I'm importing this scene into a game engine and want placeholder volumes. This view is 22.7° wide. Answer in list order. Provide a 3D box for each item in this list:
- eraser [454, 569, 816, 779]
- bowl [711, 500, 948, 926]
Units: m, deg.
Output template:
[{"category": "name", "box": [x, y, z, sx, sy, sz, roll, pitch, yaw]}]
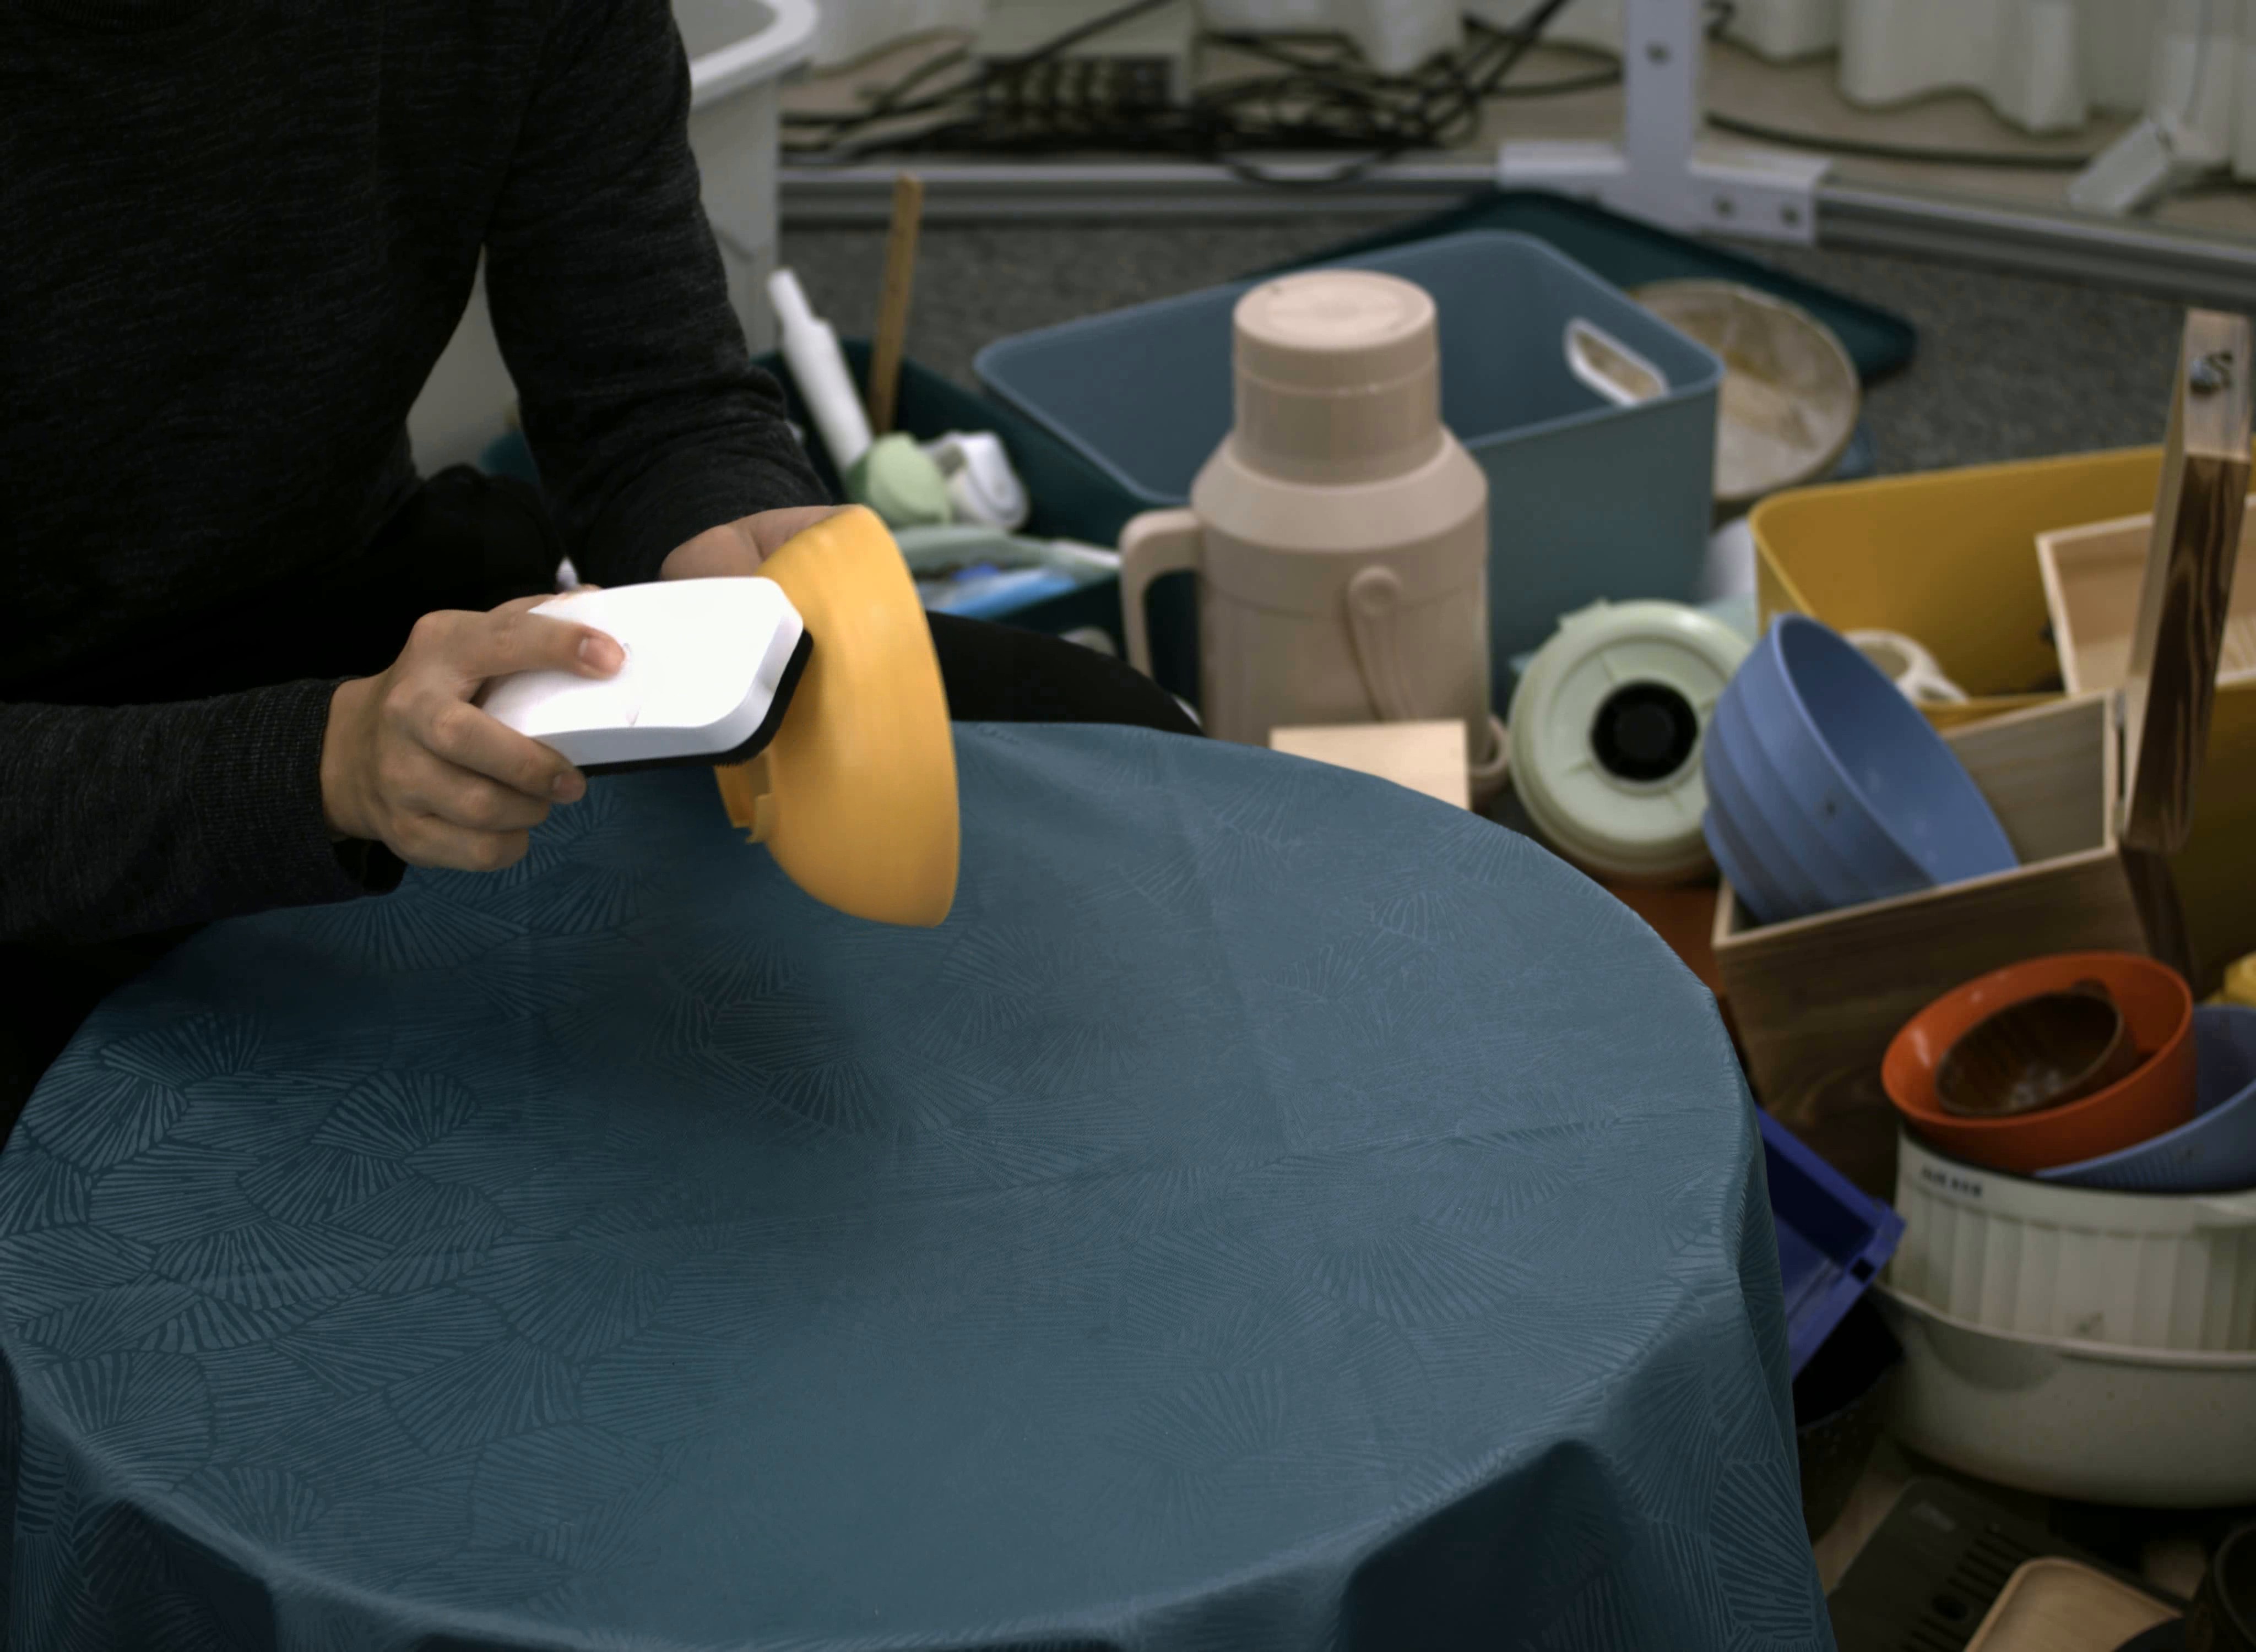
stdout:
[{"category": "eraser", "box": [-0.163, -0.050, 1.845, 0.130, 0.034, 0.064, -5, 50, 38]}, {"category": "bowl", "box": [-0.107, -0.033, 1.881, 0.060, 0.144, 0.146, -10, 28, -15]}]
